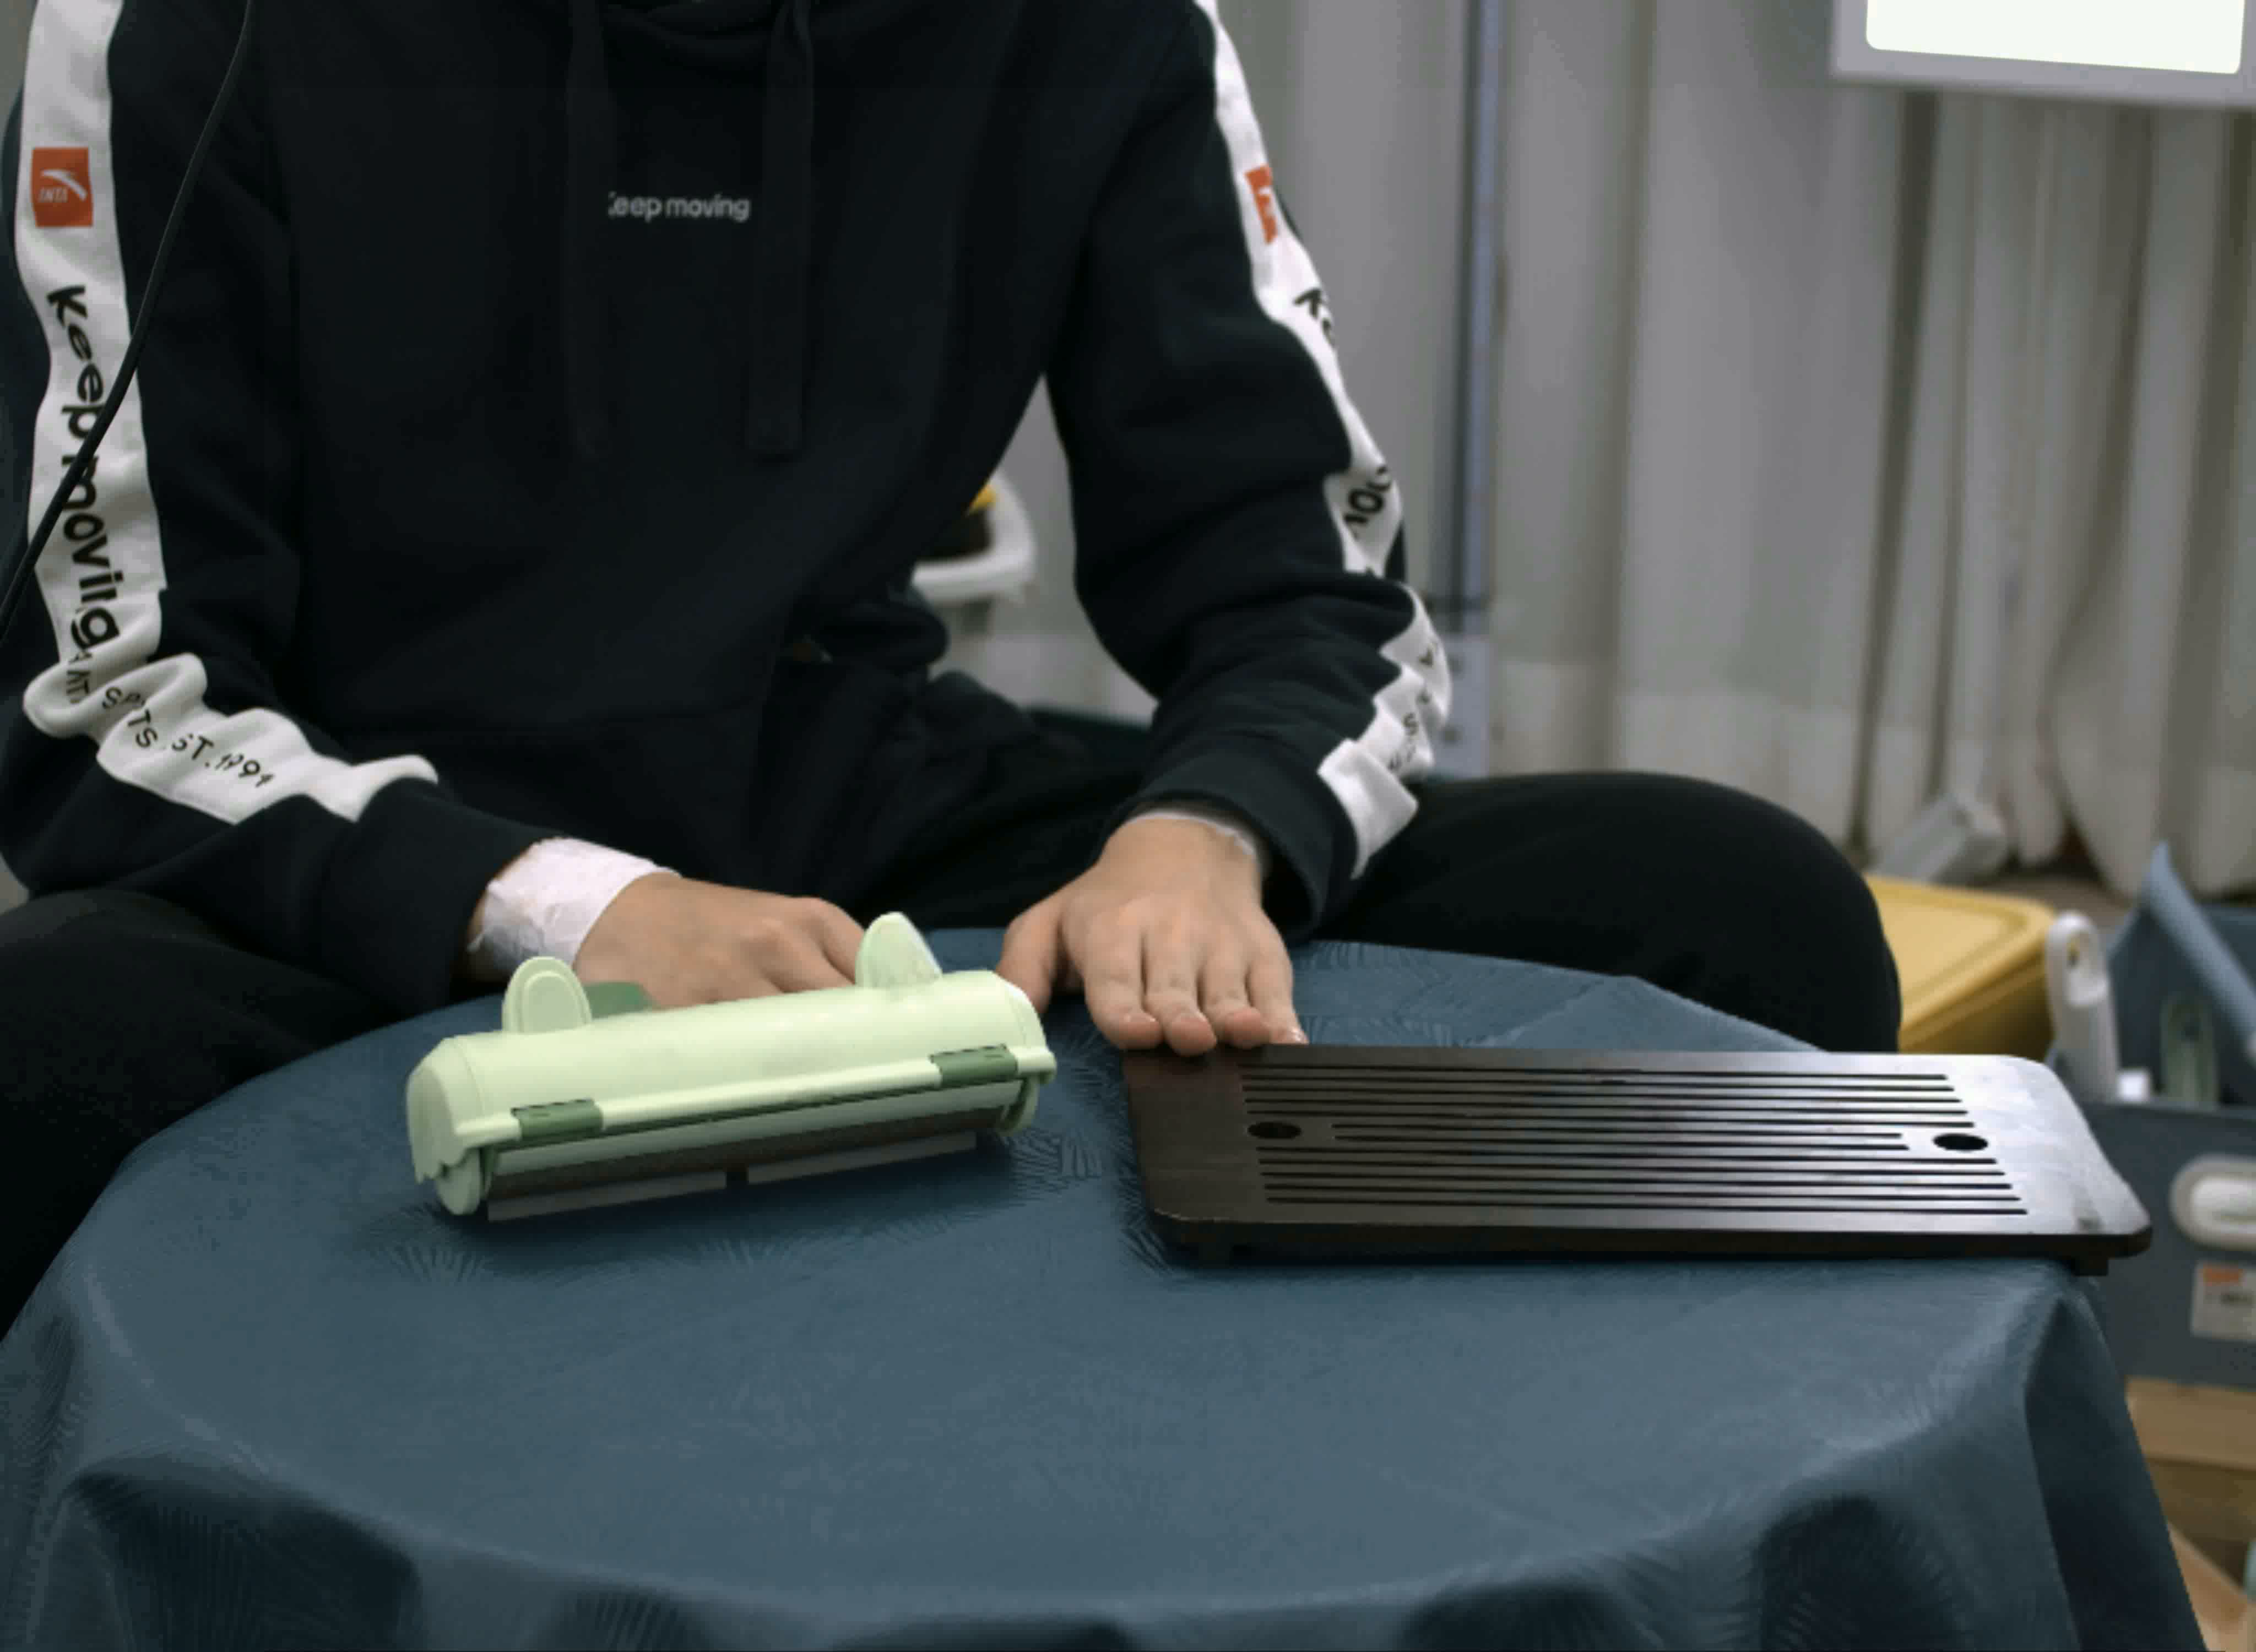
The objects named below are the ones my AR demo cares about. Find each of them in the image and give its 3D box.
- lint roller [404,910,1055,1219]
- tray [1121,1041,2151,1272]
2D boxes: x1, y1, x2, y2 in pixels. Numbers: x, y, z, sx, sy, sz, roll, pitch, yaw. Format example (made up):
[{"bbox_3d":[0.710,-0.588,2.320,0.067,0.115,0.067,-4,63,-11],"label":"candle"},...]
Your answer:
[{"bbox_3d":[-0.145,0.058,1.660,0.199,0.083,0.181,-7,21,-24],"label":"lint roller"},{"bbox_3d":[0.152,0.103,1.642,0.305,0.019,0.169,1,16,-4],"label":"tray"}]
